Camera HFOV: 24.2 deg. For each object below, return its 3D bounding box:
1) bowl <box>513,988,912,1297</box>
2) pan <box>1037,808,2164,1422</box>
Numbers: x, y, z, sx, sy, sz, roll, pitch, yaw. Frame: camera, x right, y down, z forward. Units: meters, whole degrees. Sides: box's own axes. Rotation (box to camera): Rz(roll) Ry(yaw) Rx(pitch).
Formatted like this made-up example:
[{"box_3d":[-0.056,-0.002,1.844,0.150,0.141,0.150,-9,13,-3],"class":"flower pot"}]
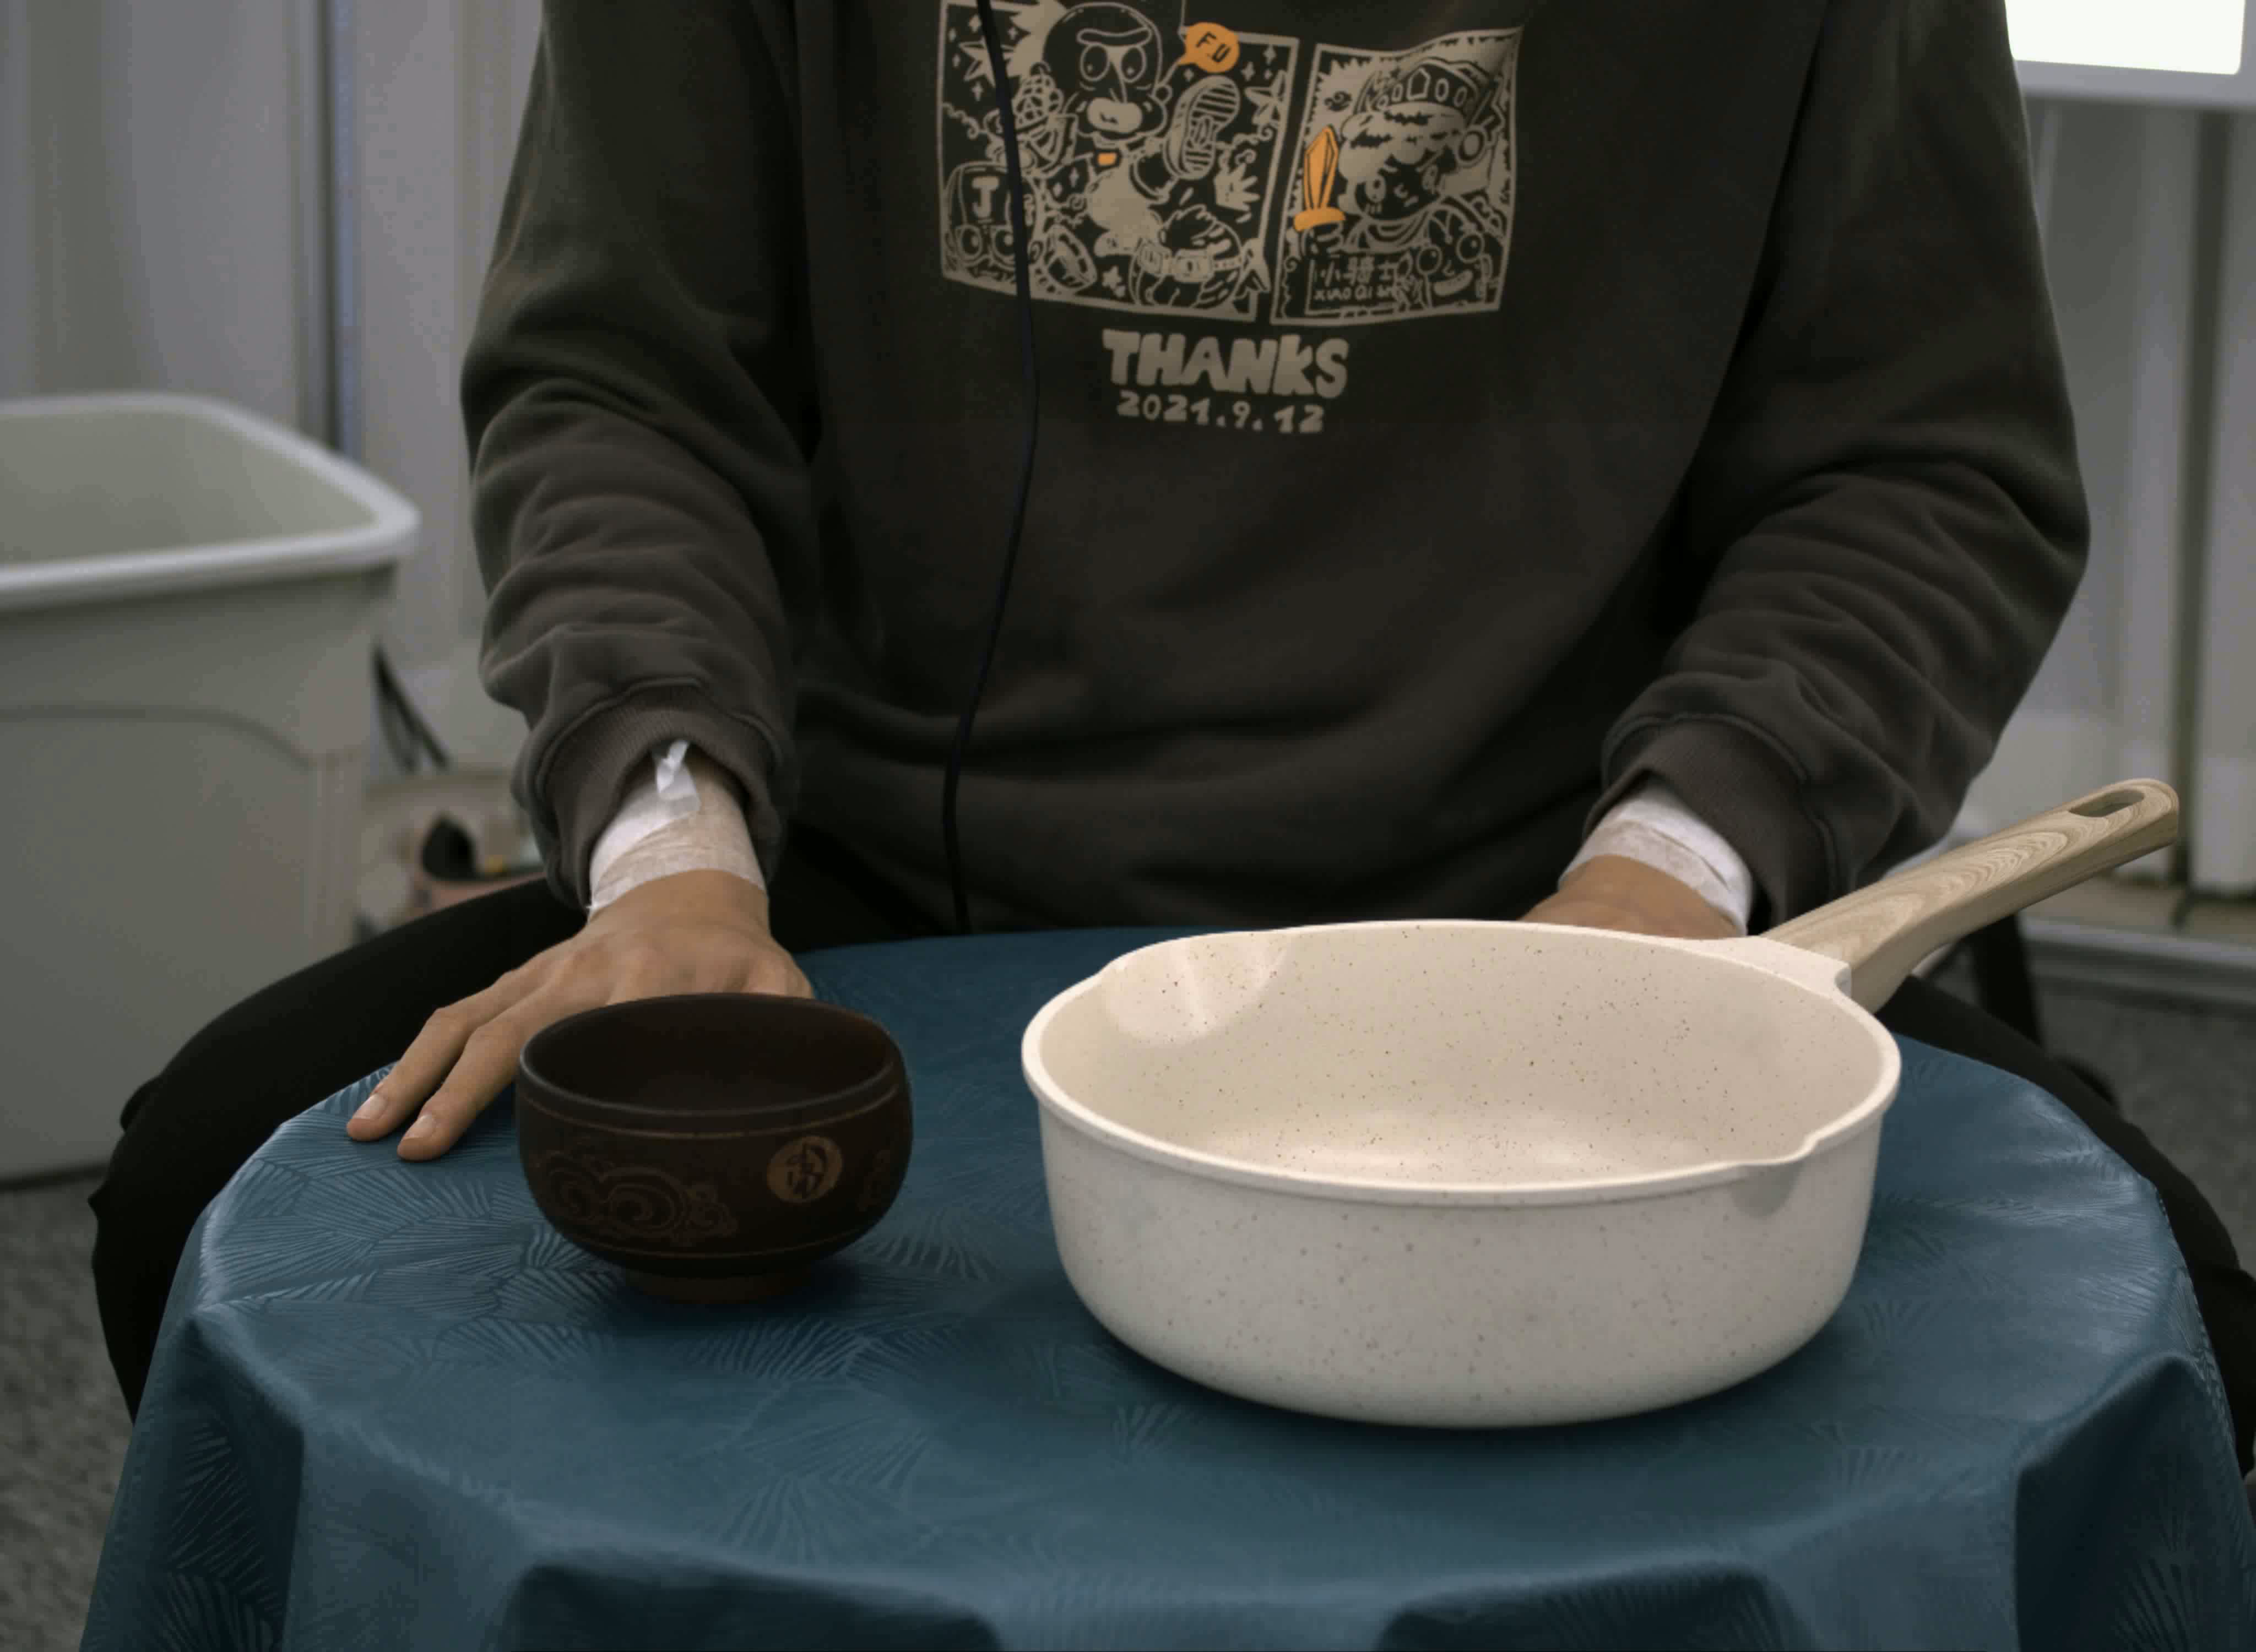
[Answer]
[{"box_3d":[-0.121,0.097,1.548,0.117,0.070,0.117,0,15,1],"class":"bowl"},{"box_3d":[0.168,0.079,1.573,0.437,0.103,0.260,-12,18,-40],"class":"pan"}]
